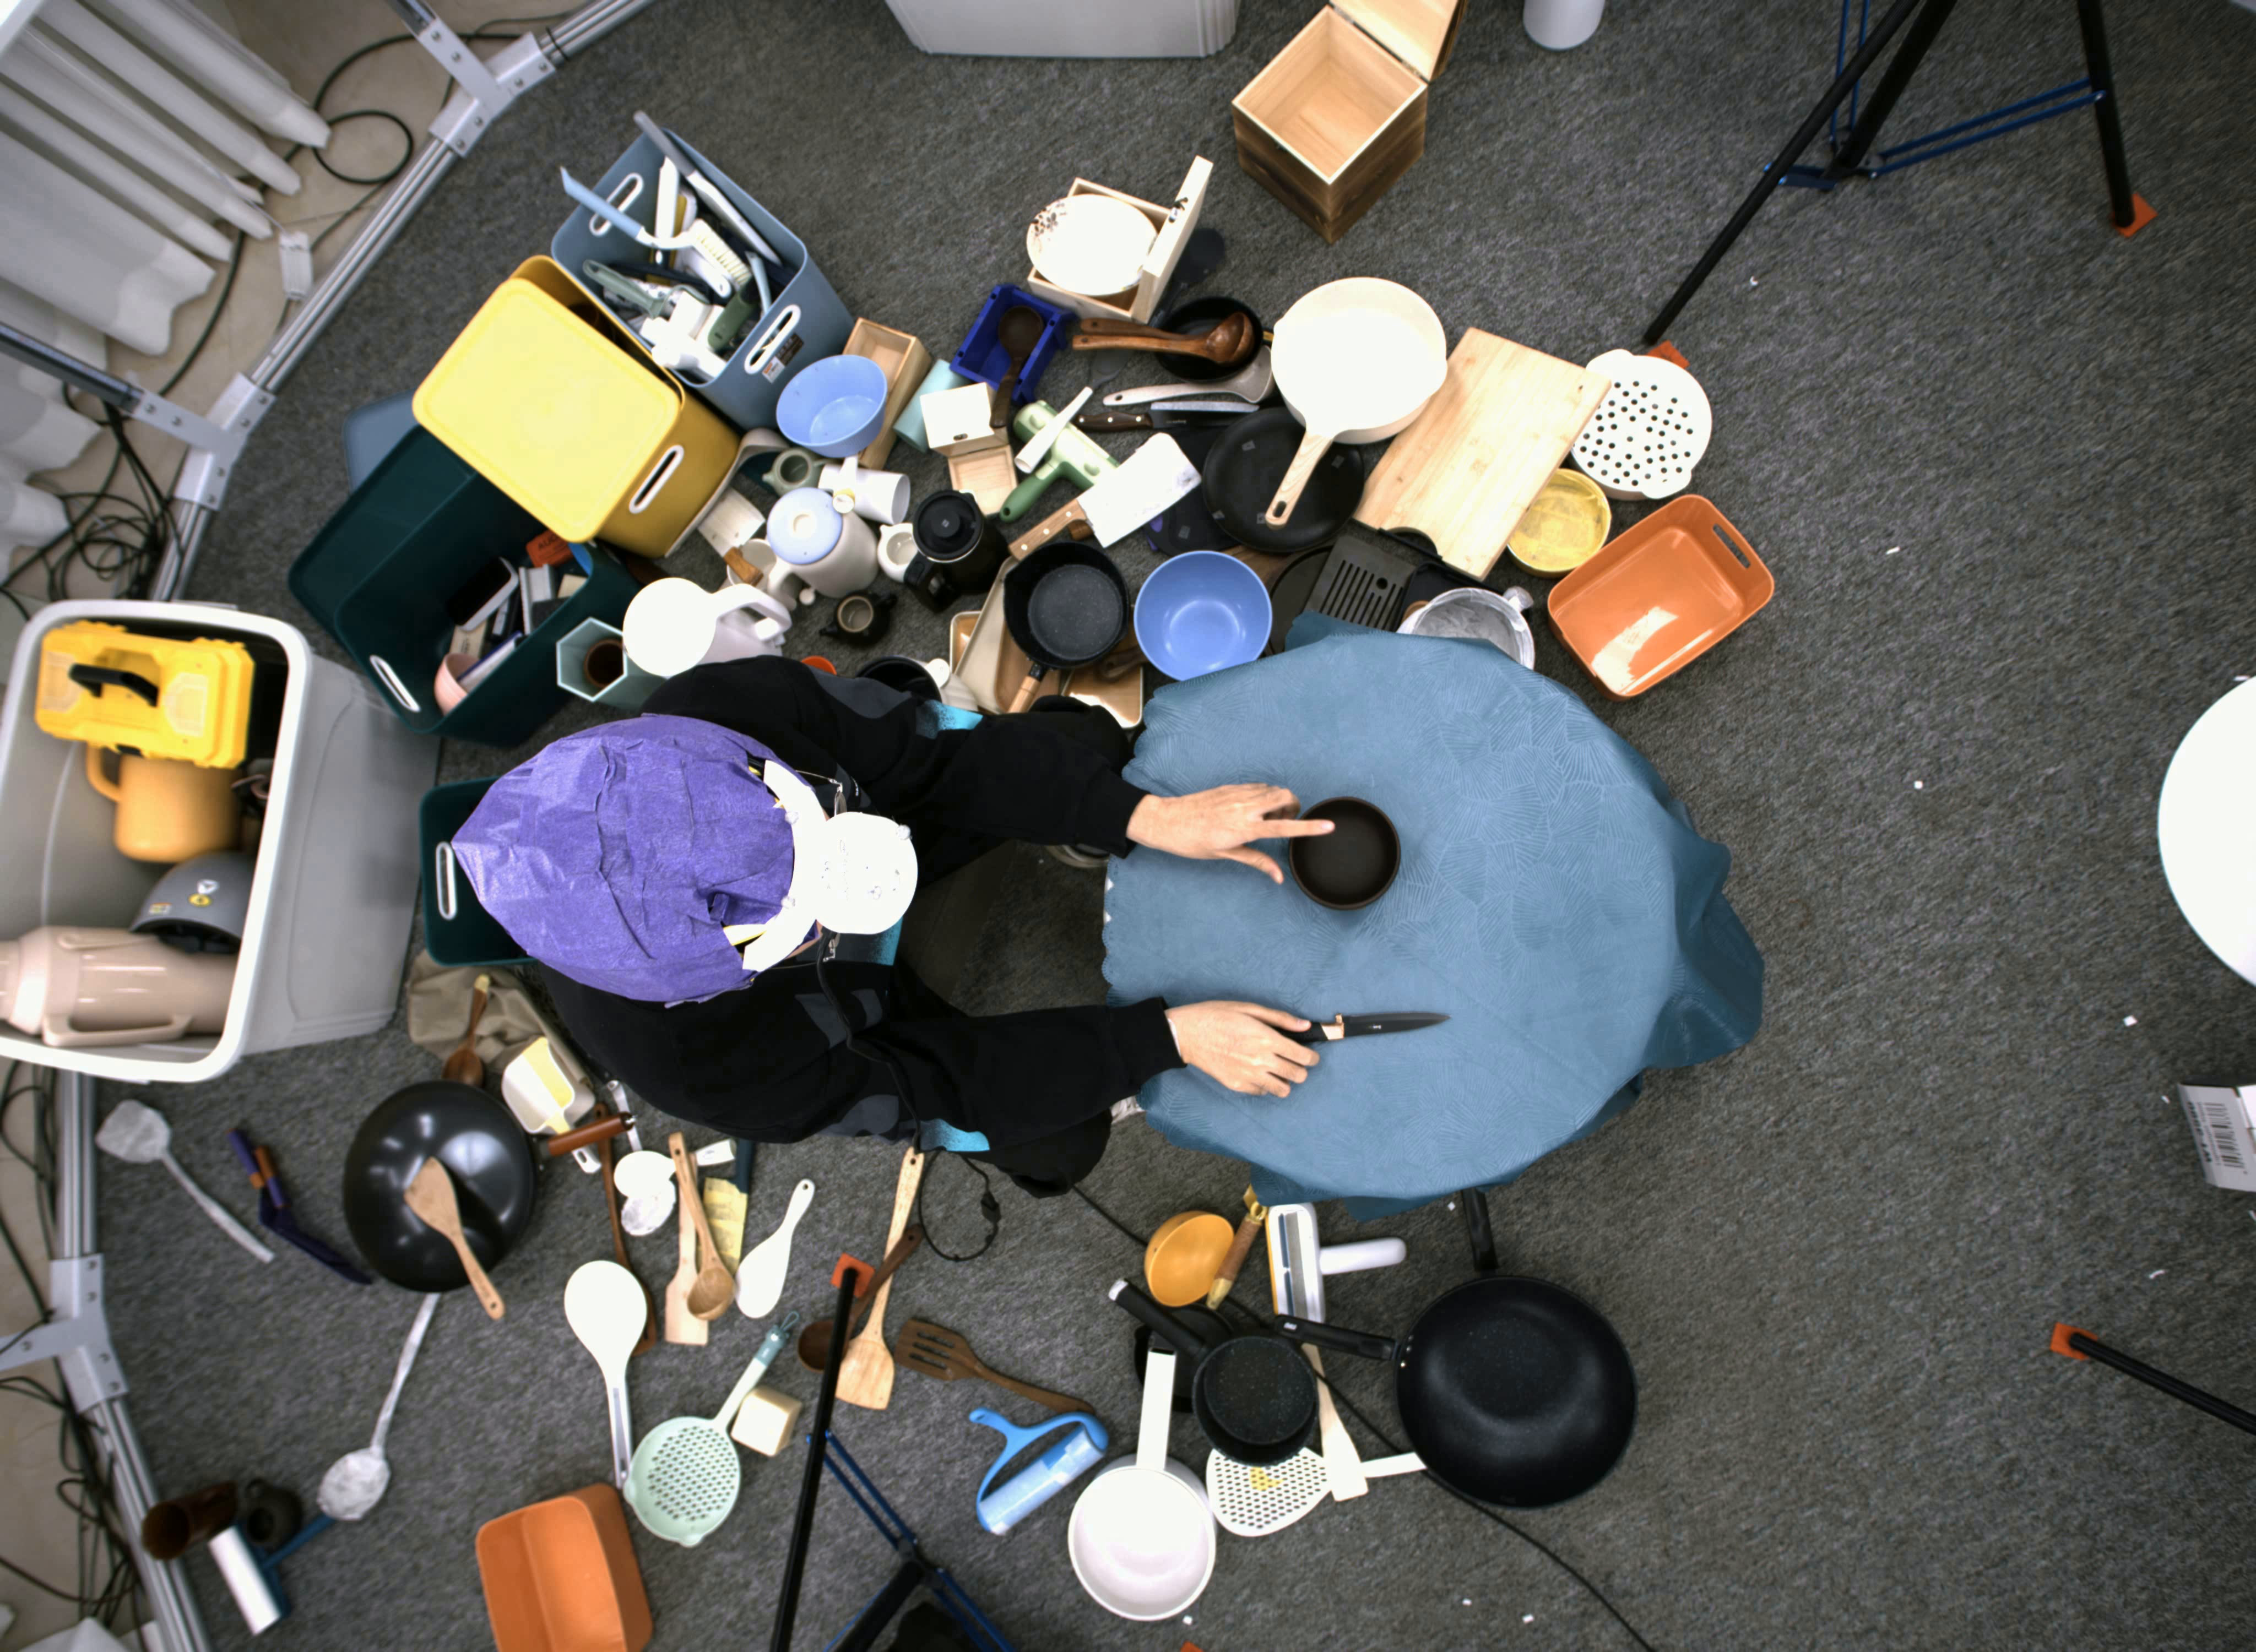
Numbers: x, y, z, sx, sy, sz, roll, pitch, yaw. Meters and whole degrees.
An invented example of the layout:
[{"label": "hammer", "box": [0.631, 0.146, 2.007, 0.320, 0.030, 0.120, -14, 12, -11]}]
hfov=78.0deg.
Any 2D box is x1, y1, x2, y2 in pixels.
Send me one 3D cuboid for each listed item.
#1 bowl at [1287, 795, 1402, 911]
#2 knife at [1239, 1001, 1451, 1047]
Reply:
[{"label": "bowl", "box": [0.225, 0.029, 1.432, 0.118, 0.070, 0.117, -1, 84, 11]}, {"label": "knife", "box": [0.227, 0.207, 1.455, 0.226, 0.017, 0.026, -9, 78, 9]}]
